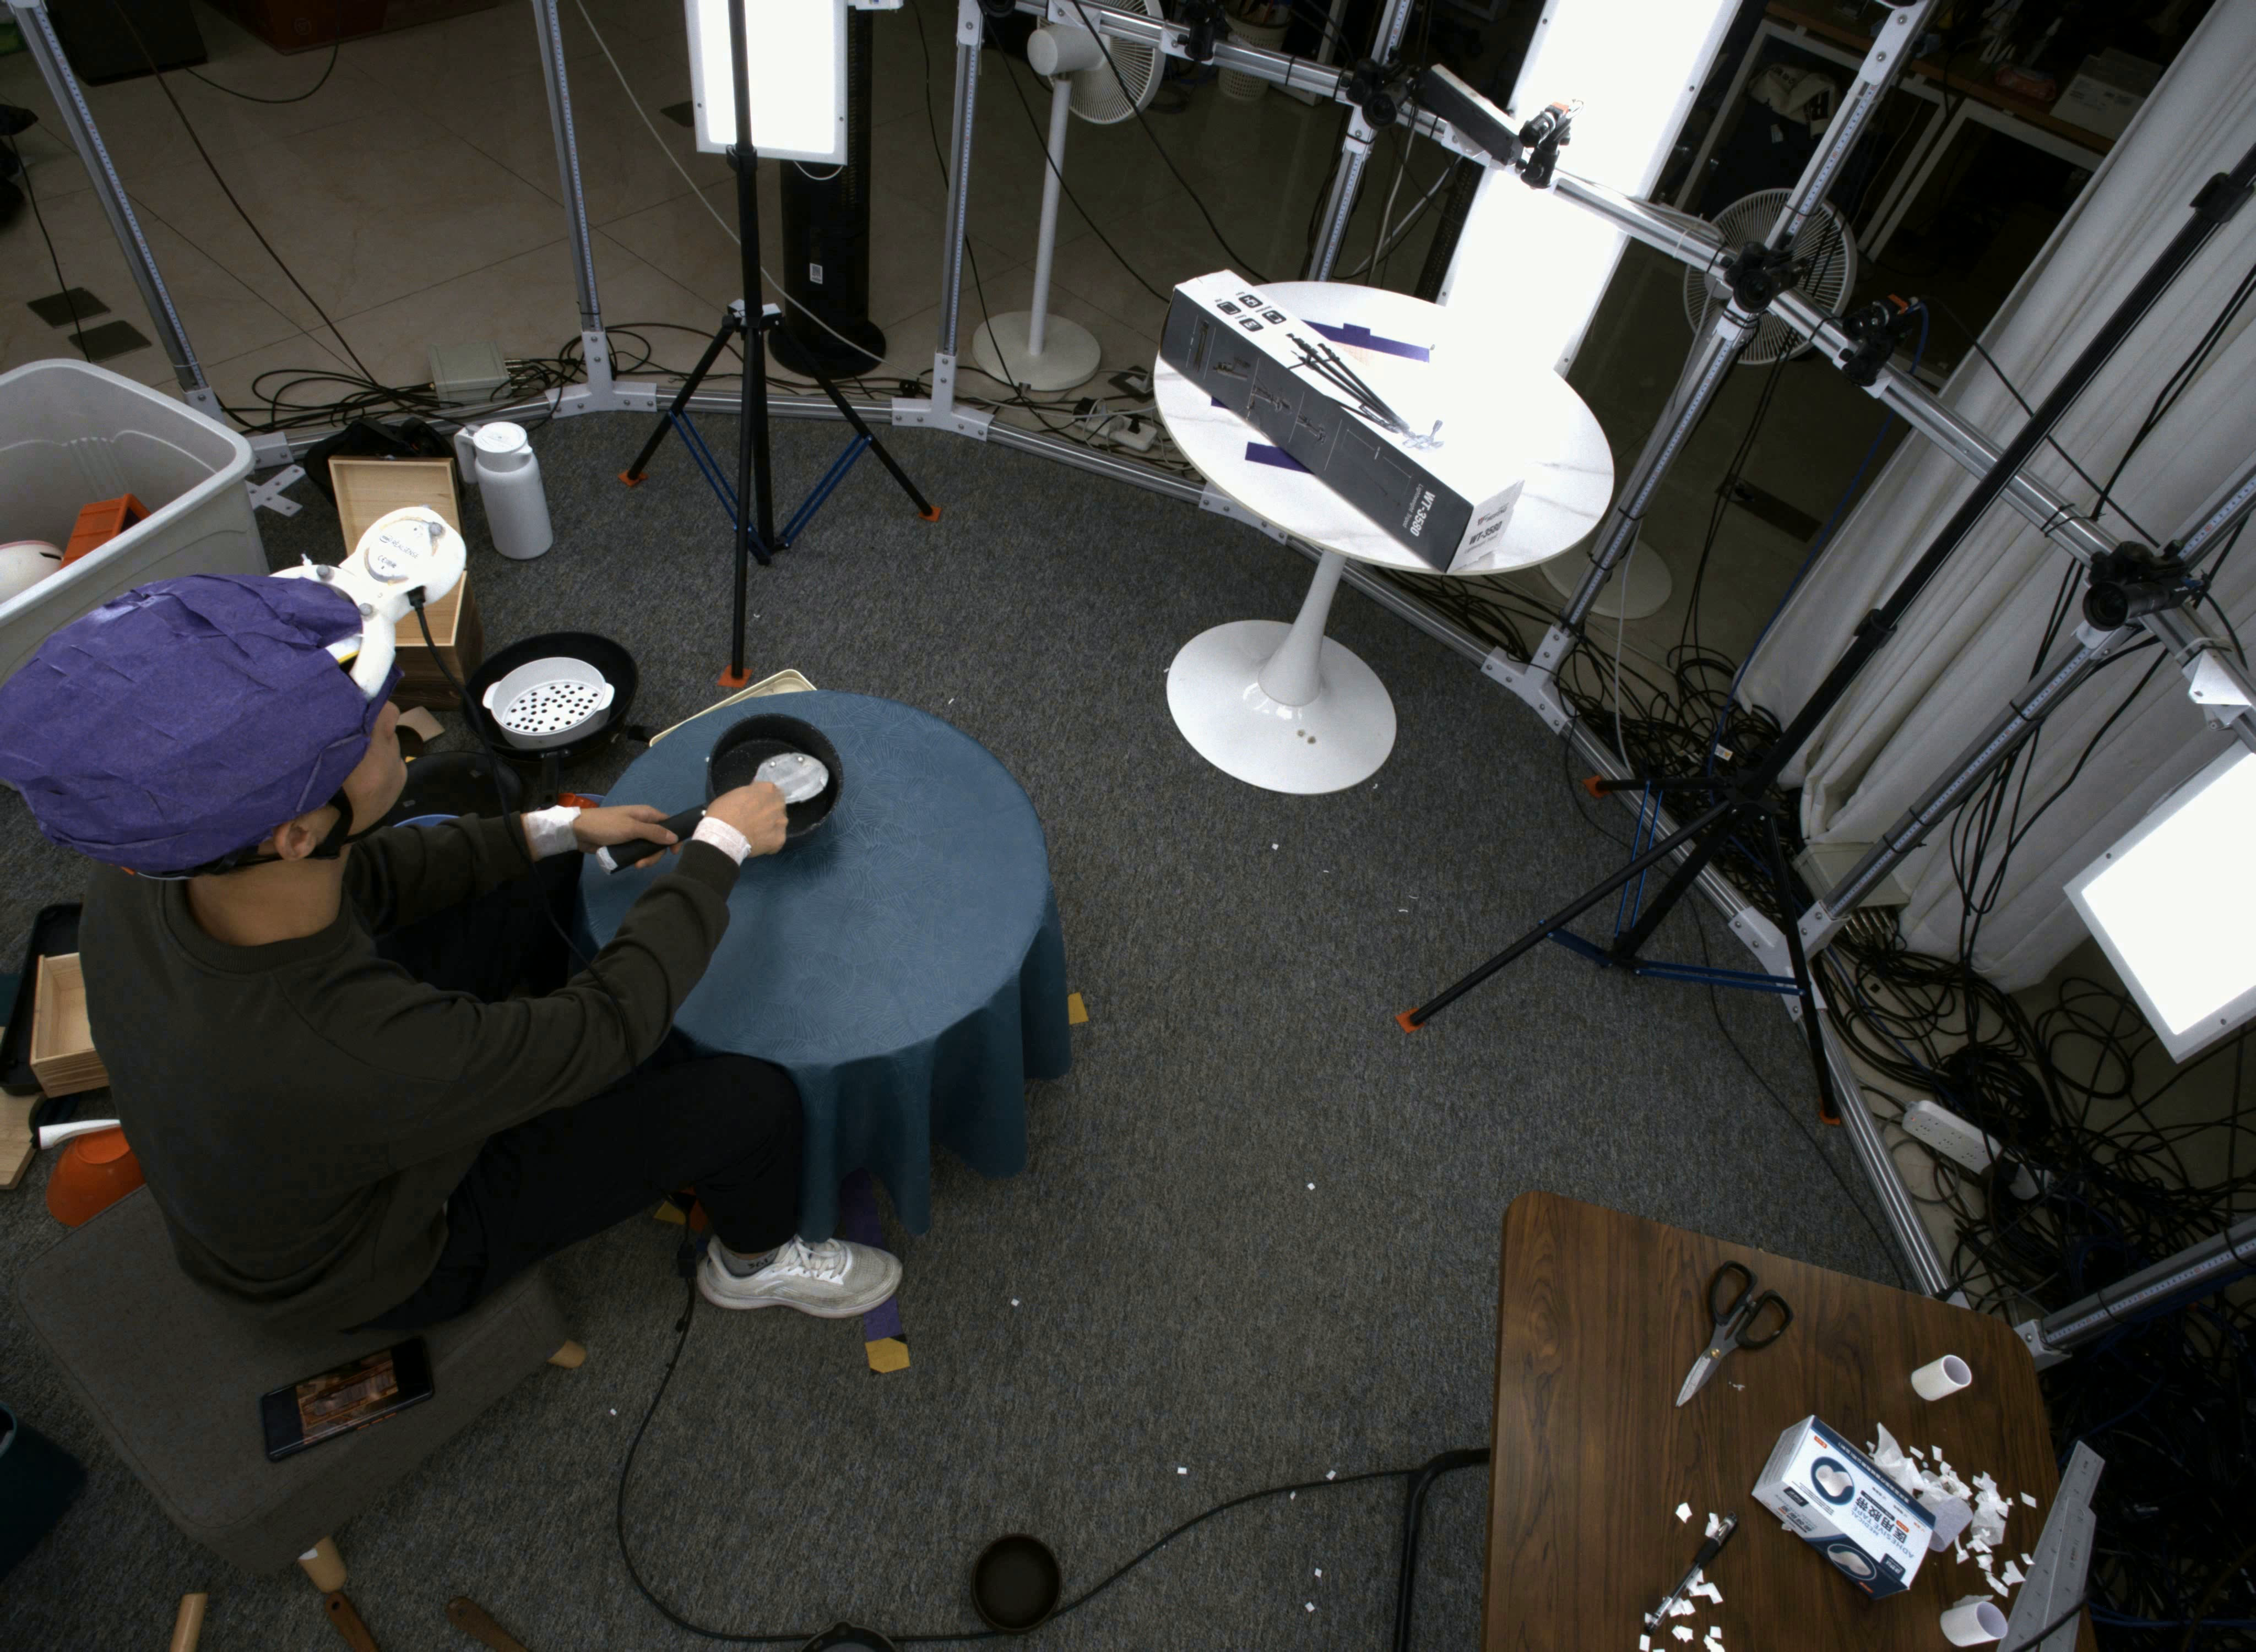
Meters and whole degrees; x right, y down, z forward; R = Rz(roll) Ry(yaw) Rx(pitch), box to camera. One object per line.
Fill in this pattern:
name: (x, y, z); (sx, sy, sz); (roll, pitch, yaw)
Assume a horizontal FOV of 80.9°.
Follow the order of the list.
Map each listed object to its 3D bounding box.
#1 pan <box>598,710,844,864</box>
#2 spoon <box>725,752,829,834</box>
pan: (-0.521, -0.023, 1.645); (0.330, 0.086, 0.172); (-29, 85, -31)
spoon: (-0.452, -0.046, 1.611); (0.099, 0.060, 0.275); (5, 11, 3)
